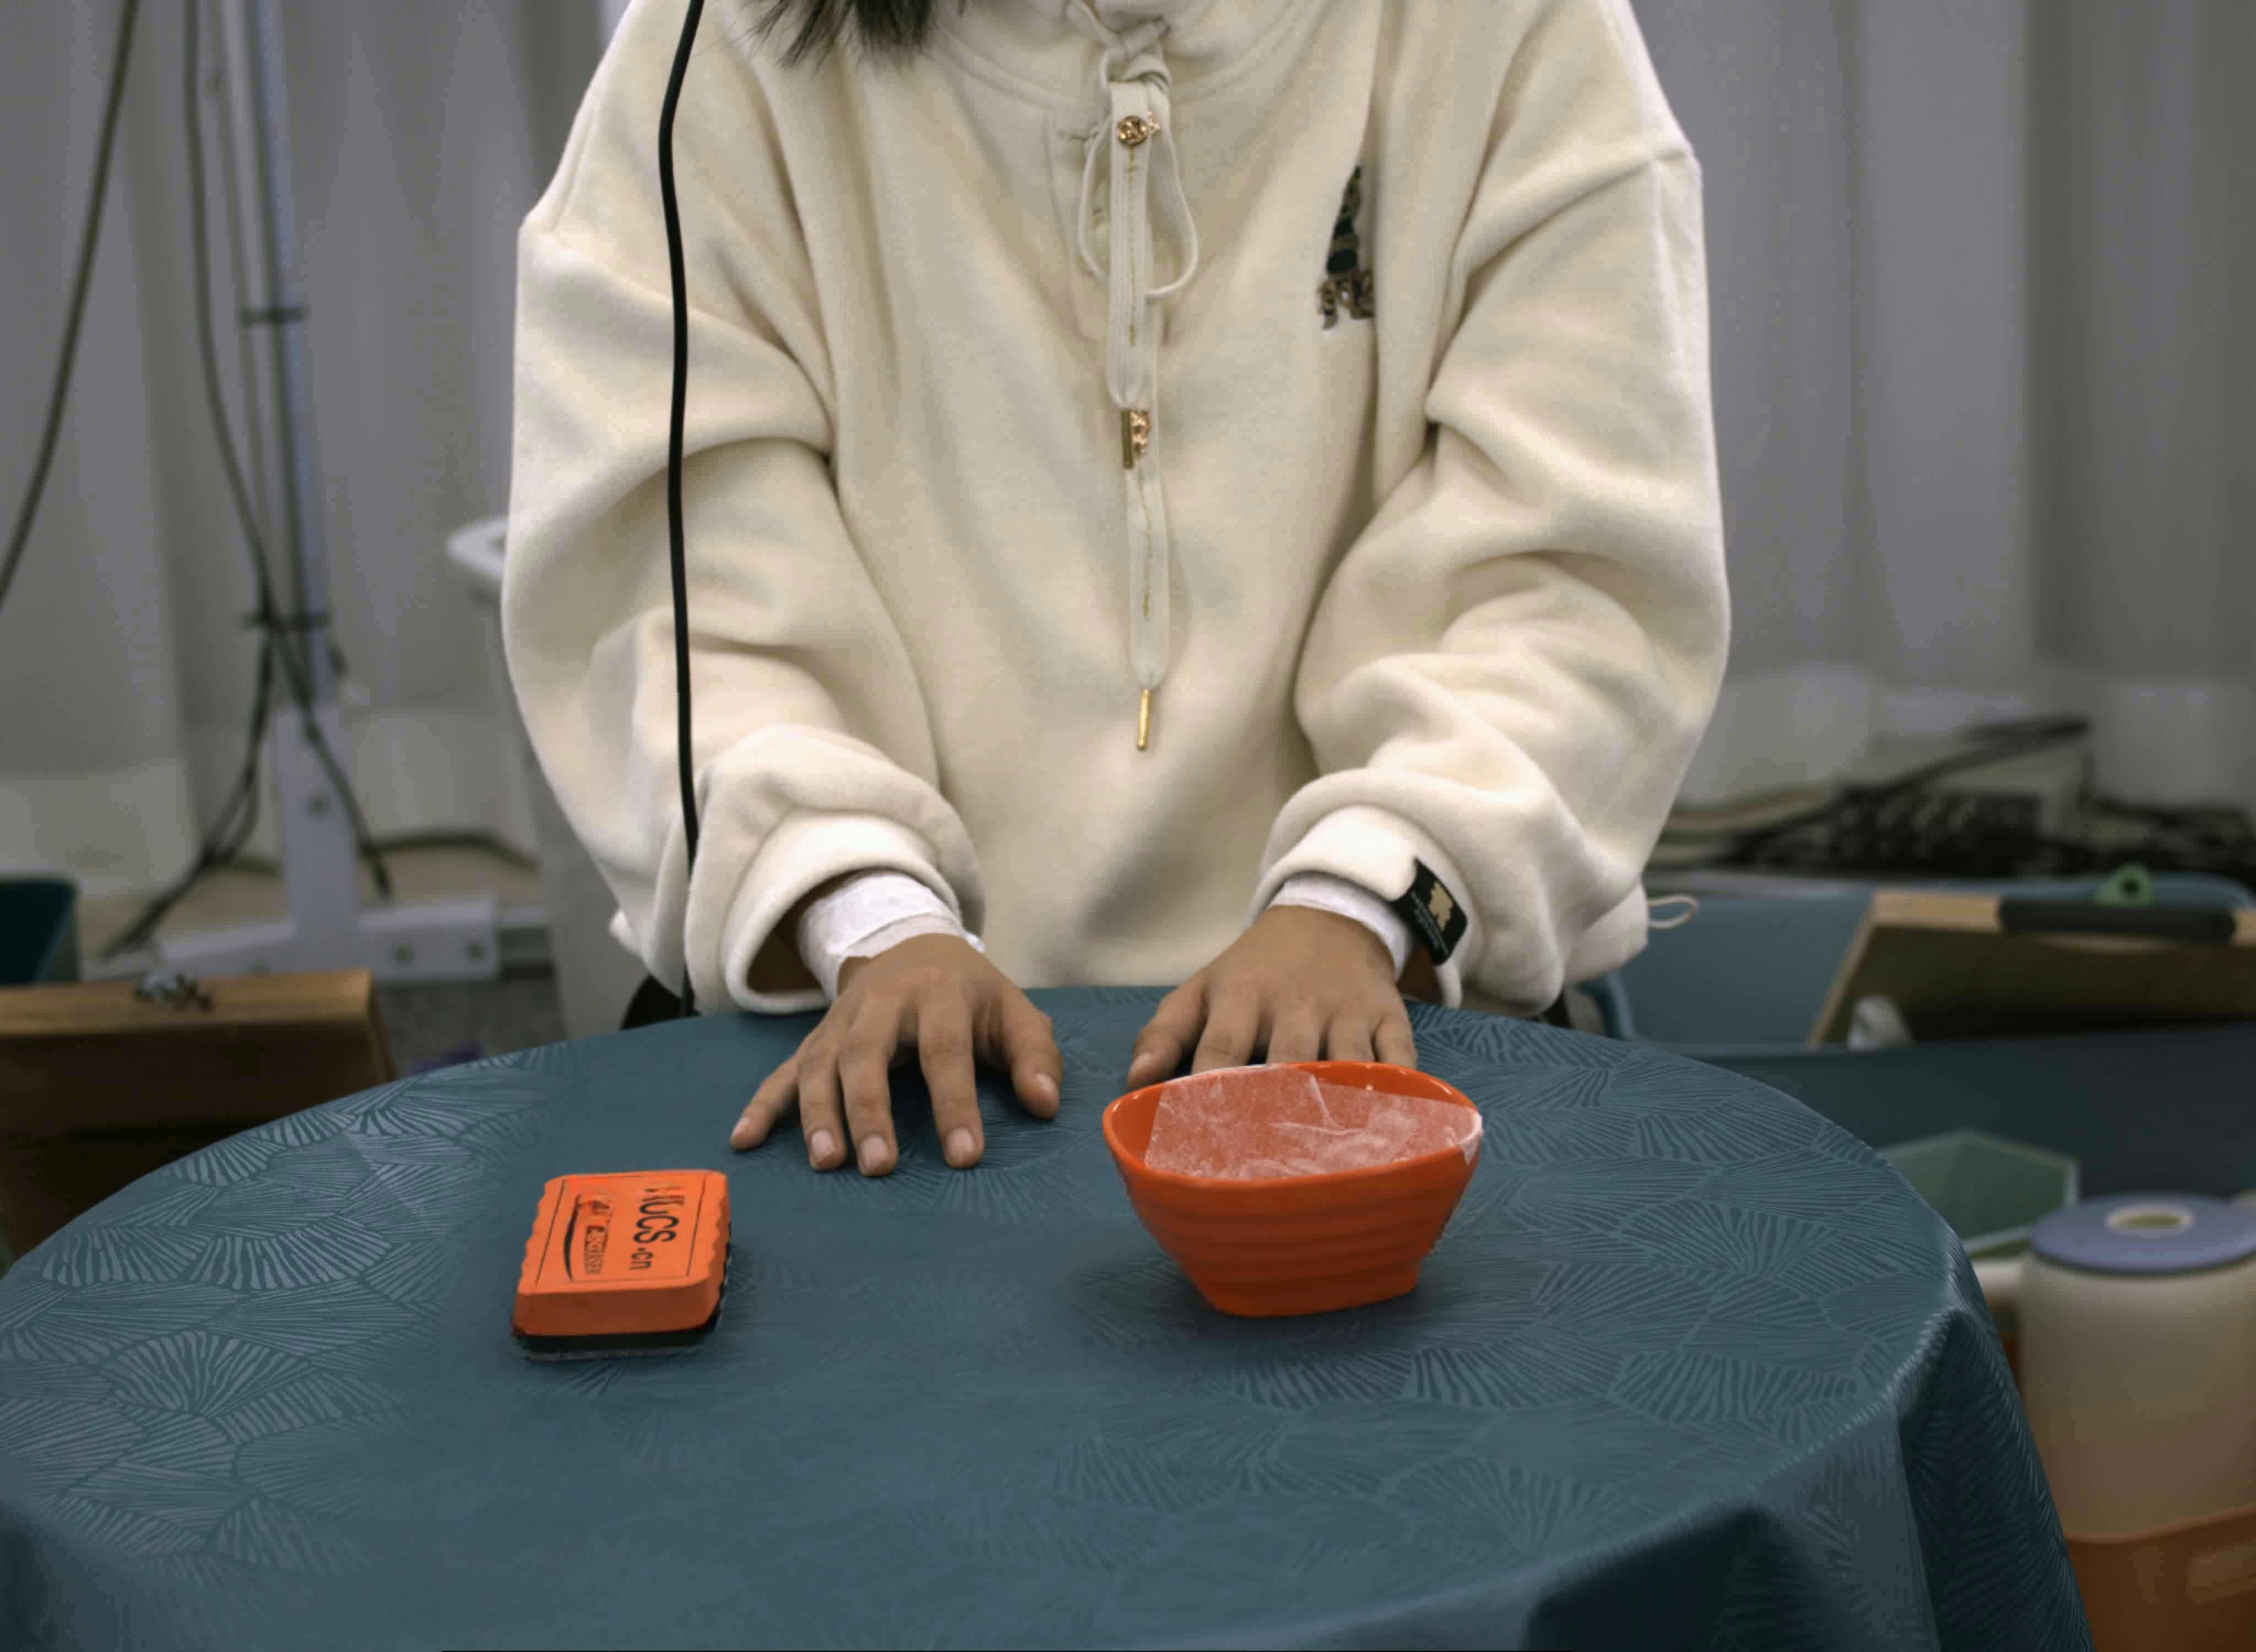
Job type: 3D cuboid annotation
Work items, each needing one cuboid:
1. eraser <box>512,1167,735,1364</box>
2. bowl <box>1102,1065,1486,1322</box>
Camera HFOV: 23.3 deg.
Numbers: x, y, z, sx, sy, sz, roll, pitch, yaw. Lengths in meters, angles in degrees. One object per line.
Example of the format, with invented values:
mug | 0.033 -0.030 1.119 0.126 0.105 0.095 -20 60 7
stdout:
eraser | -0.150 0.131 1.638 0.059 0.023 0.109 -5 15 2
bowl | 0.050 0.111 1.622 0.118 0.051 0.119 -4 14 1
